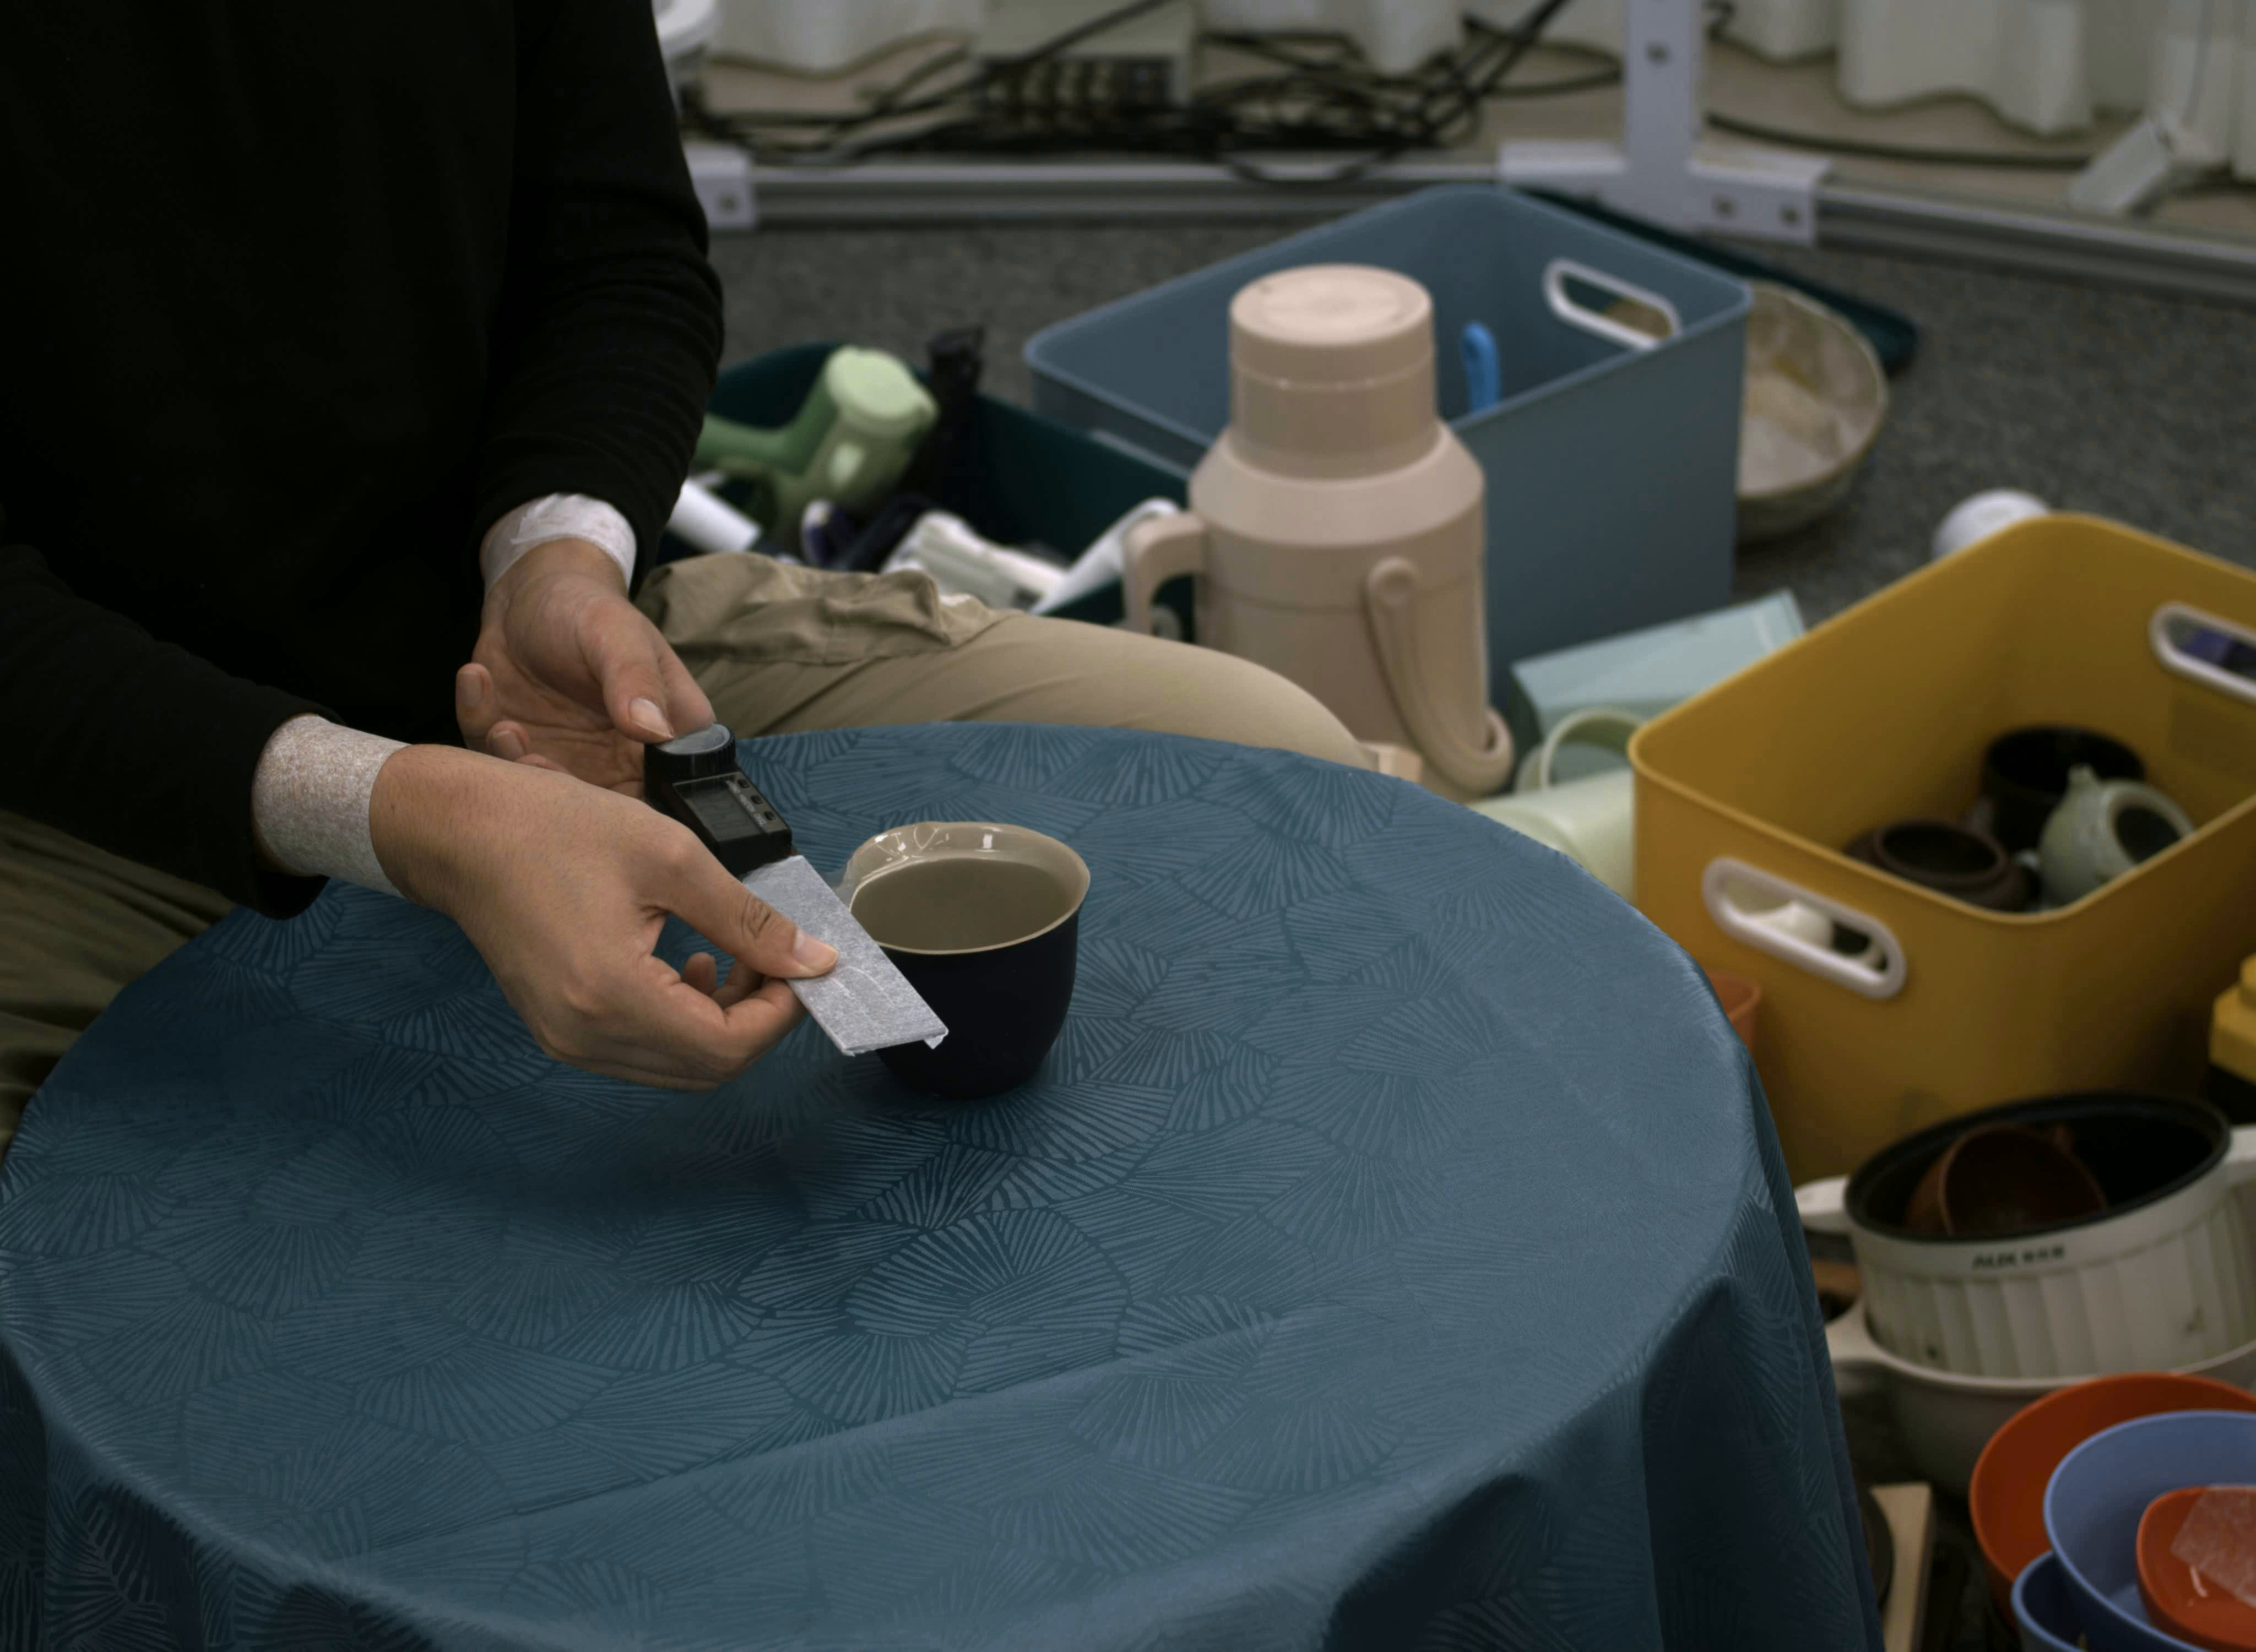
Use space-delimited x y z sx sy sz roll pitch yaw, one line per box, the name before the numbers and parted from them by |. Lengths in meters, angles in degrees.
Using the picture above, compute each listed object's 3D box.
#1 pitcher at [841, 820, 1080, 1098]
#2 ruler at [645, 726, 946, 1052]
pitcher | -0.059 0.049 1.929 0.084 0.070 0.096 -15 30 -20
ruler | -0.117 0.018 1.896 0.038 0.024 0.219 -17 29 -17
